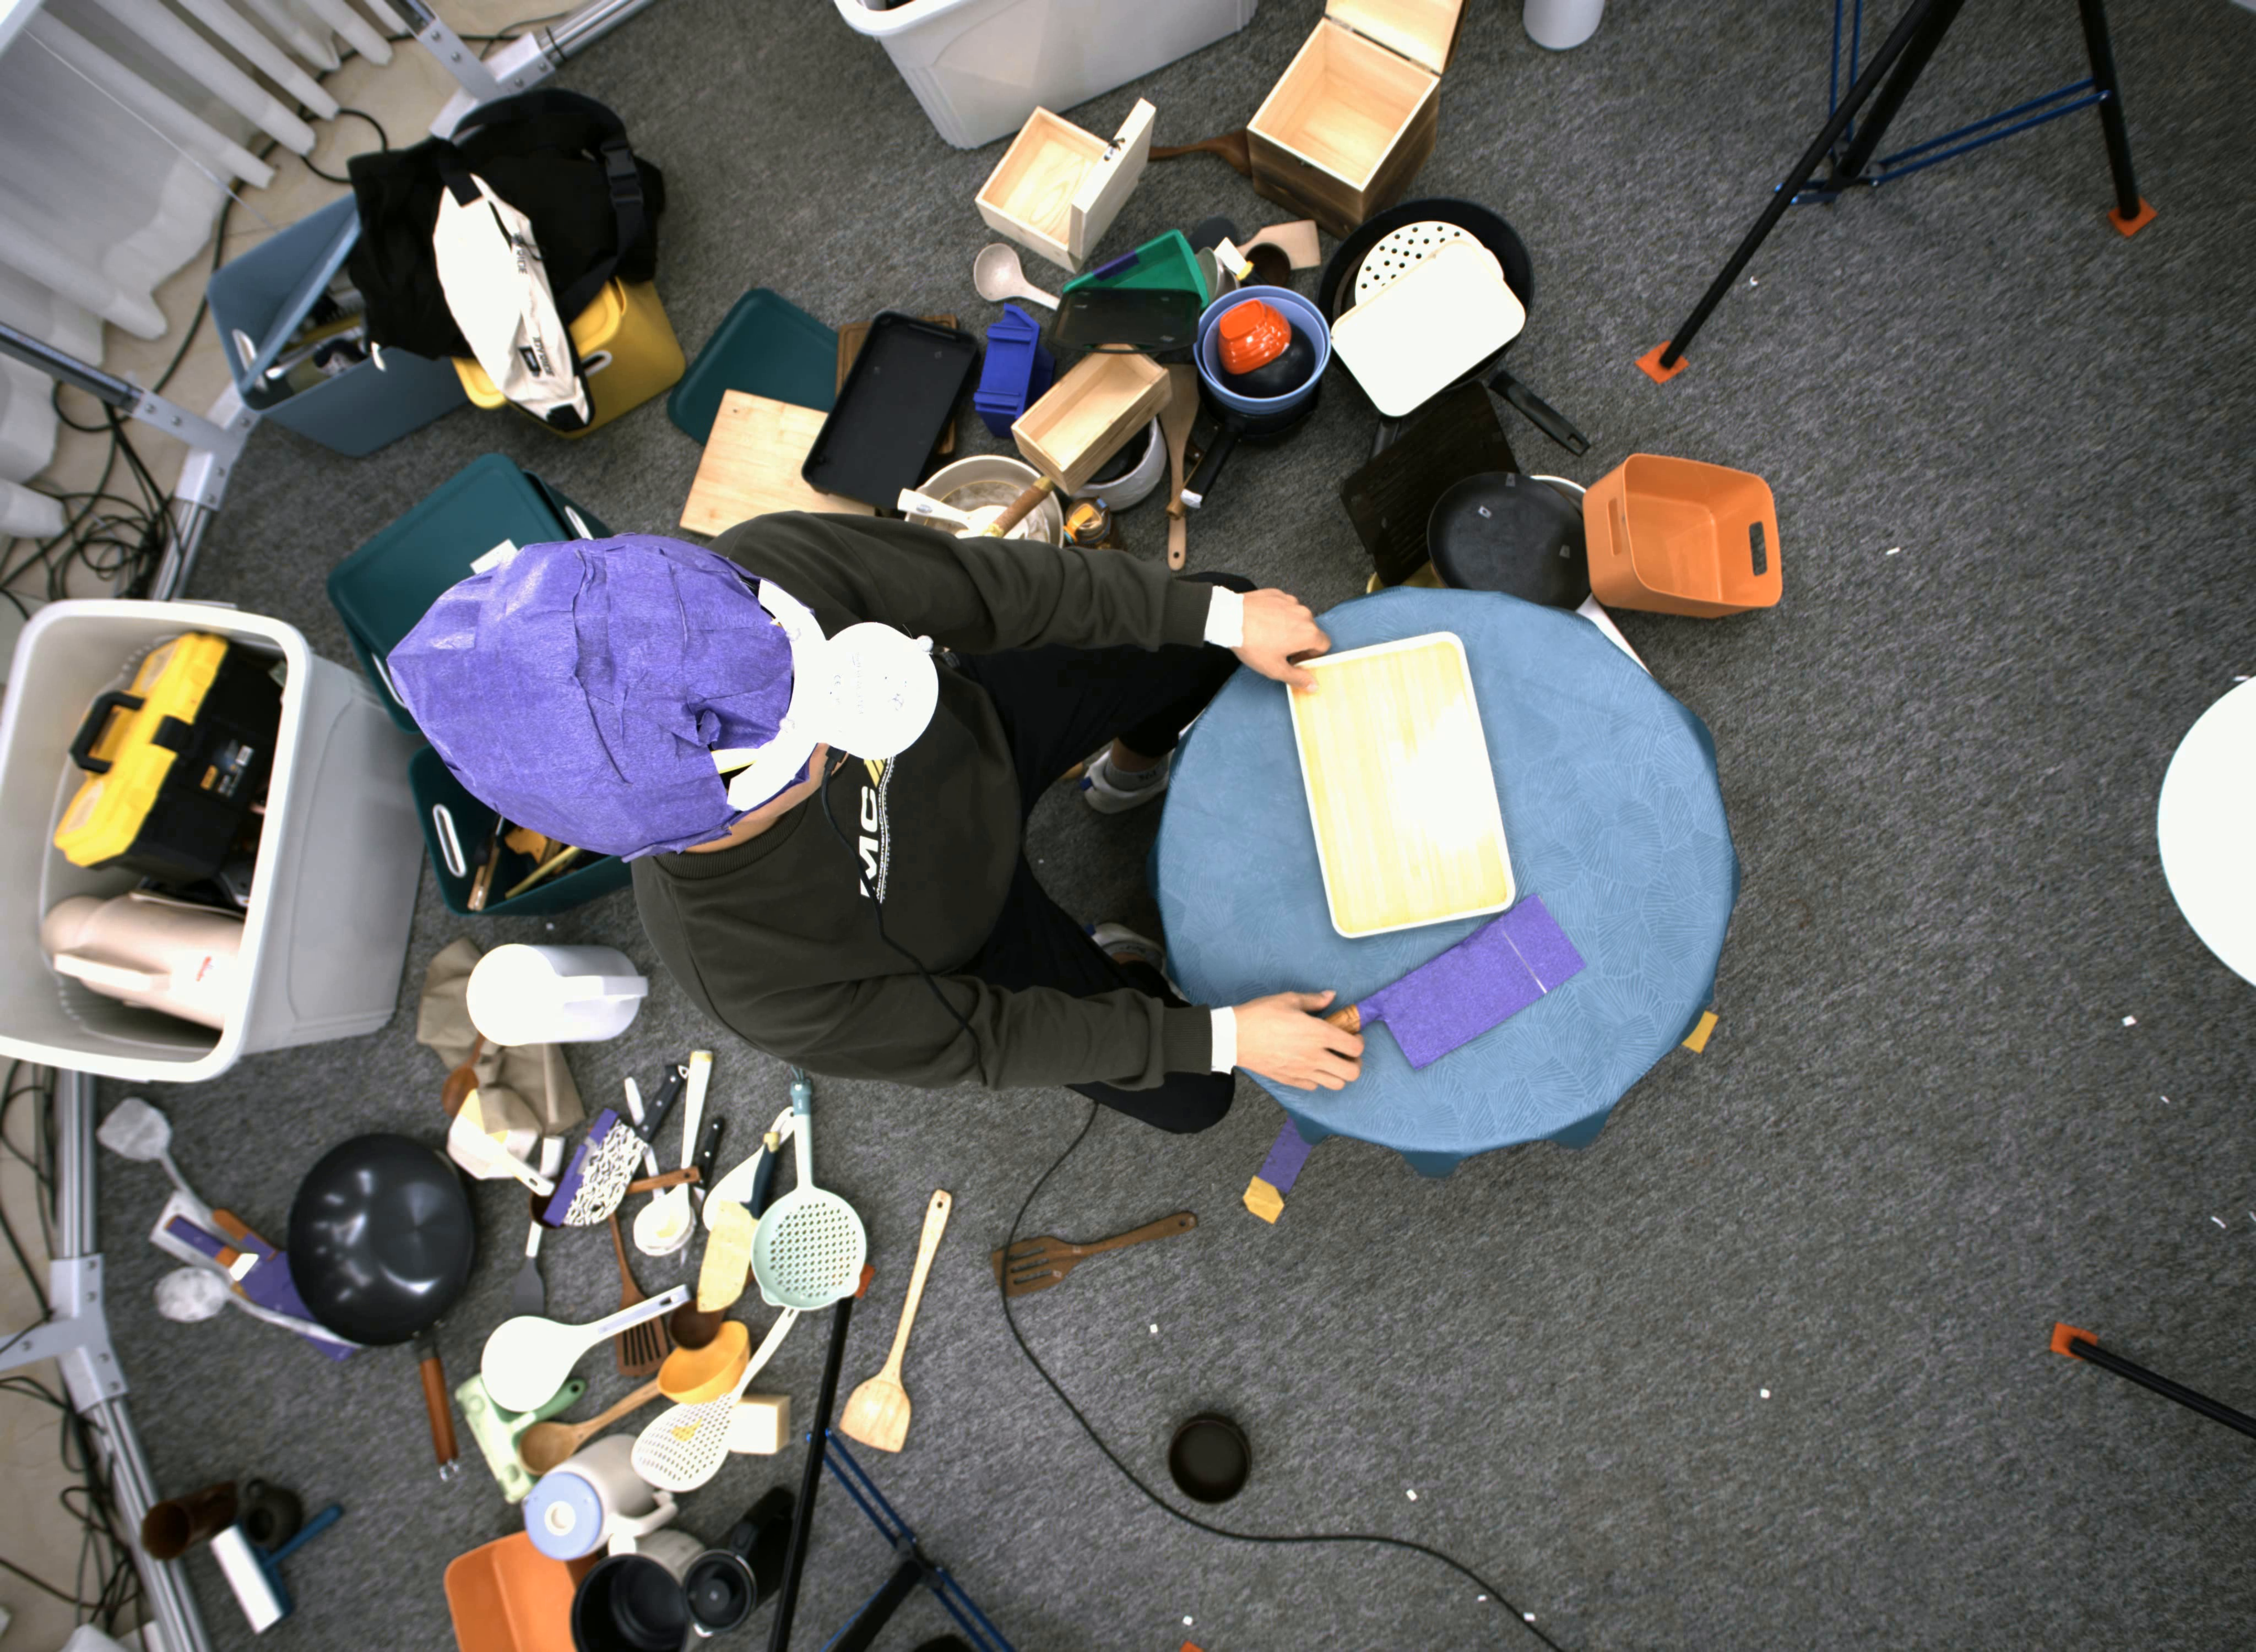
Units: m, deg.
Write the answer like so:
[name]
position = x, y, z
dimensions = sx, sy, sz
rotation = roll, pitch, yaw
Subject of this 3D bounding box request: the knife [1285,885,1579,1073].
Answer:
[knife]
position = 0.317, 0.184, 1.431
dimensions = 0.317, 0.032, 0.103
rotation = -34, 80, 7

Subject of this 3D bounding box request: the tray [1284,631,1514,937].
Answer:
[tray]
position = 0.283, -0.045, 1.450
dimensions = 0.192, 0.027, 0.298
rotation = -11, 85, 11
